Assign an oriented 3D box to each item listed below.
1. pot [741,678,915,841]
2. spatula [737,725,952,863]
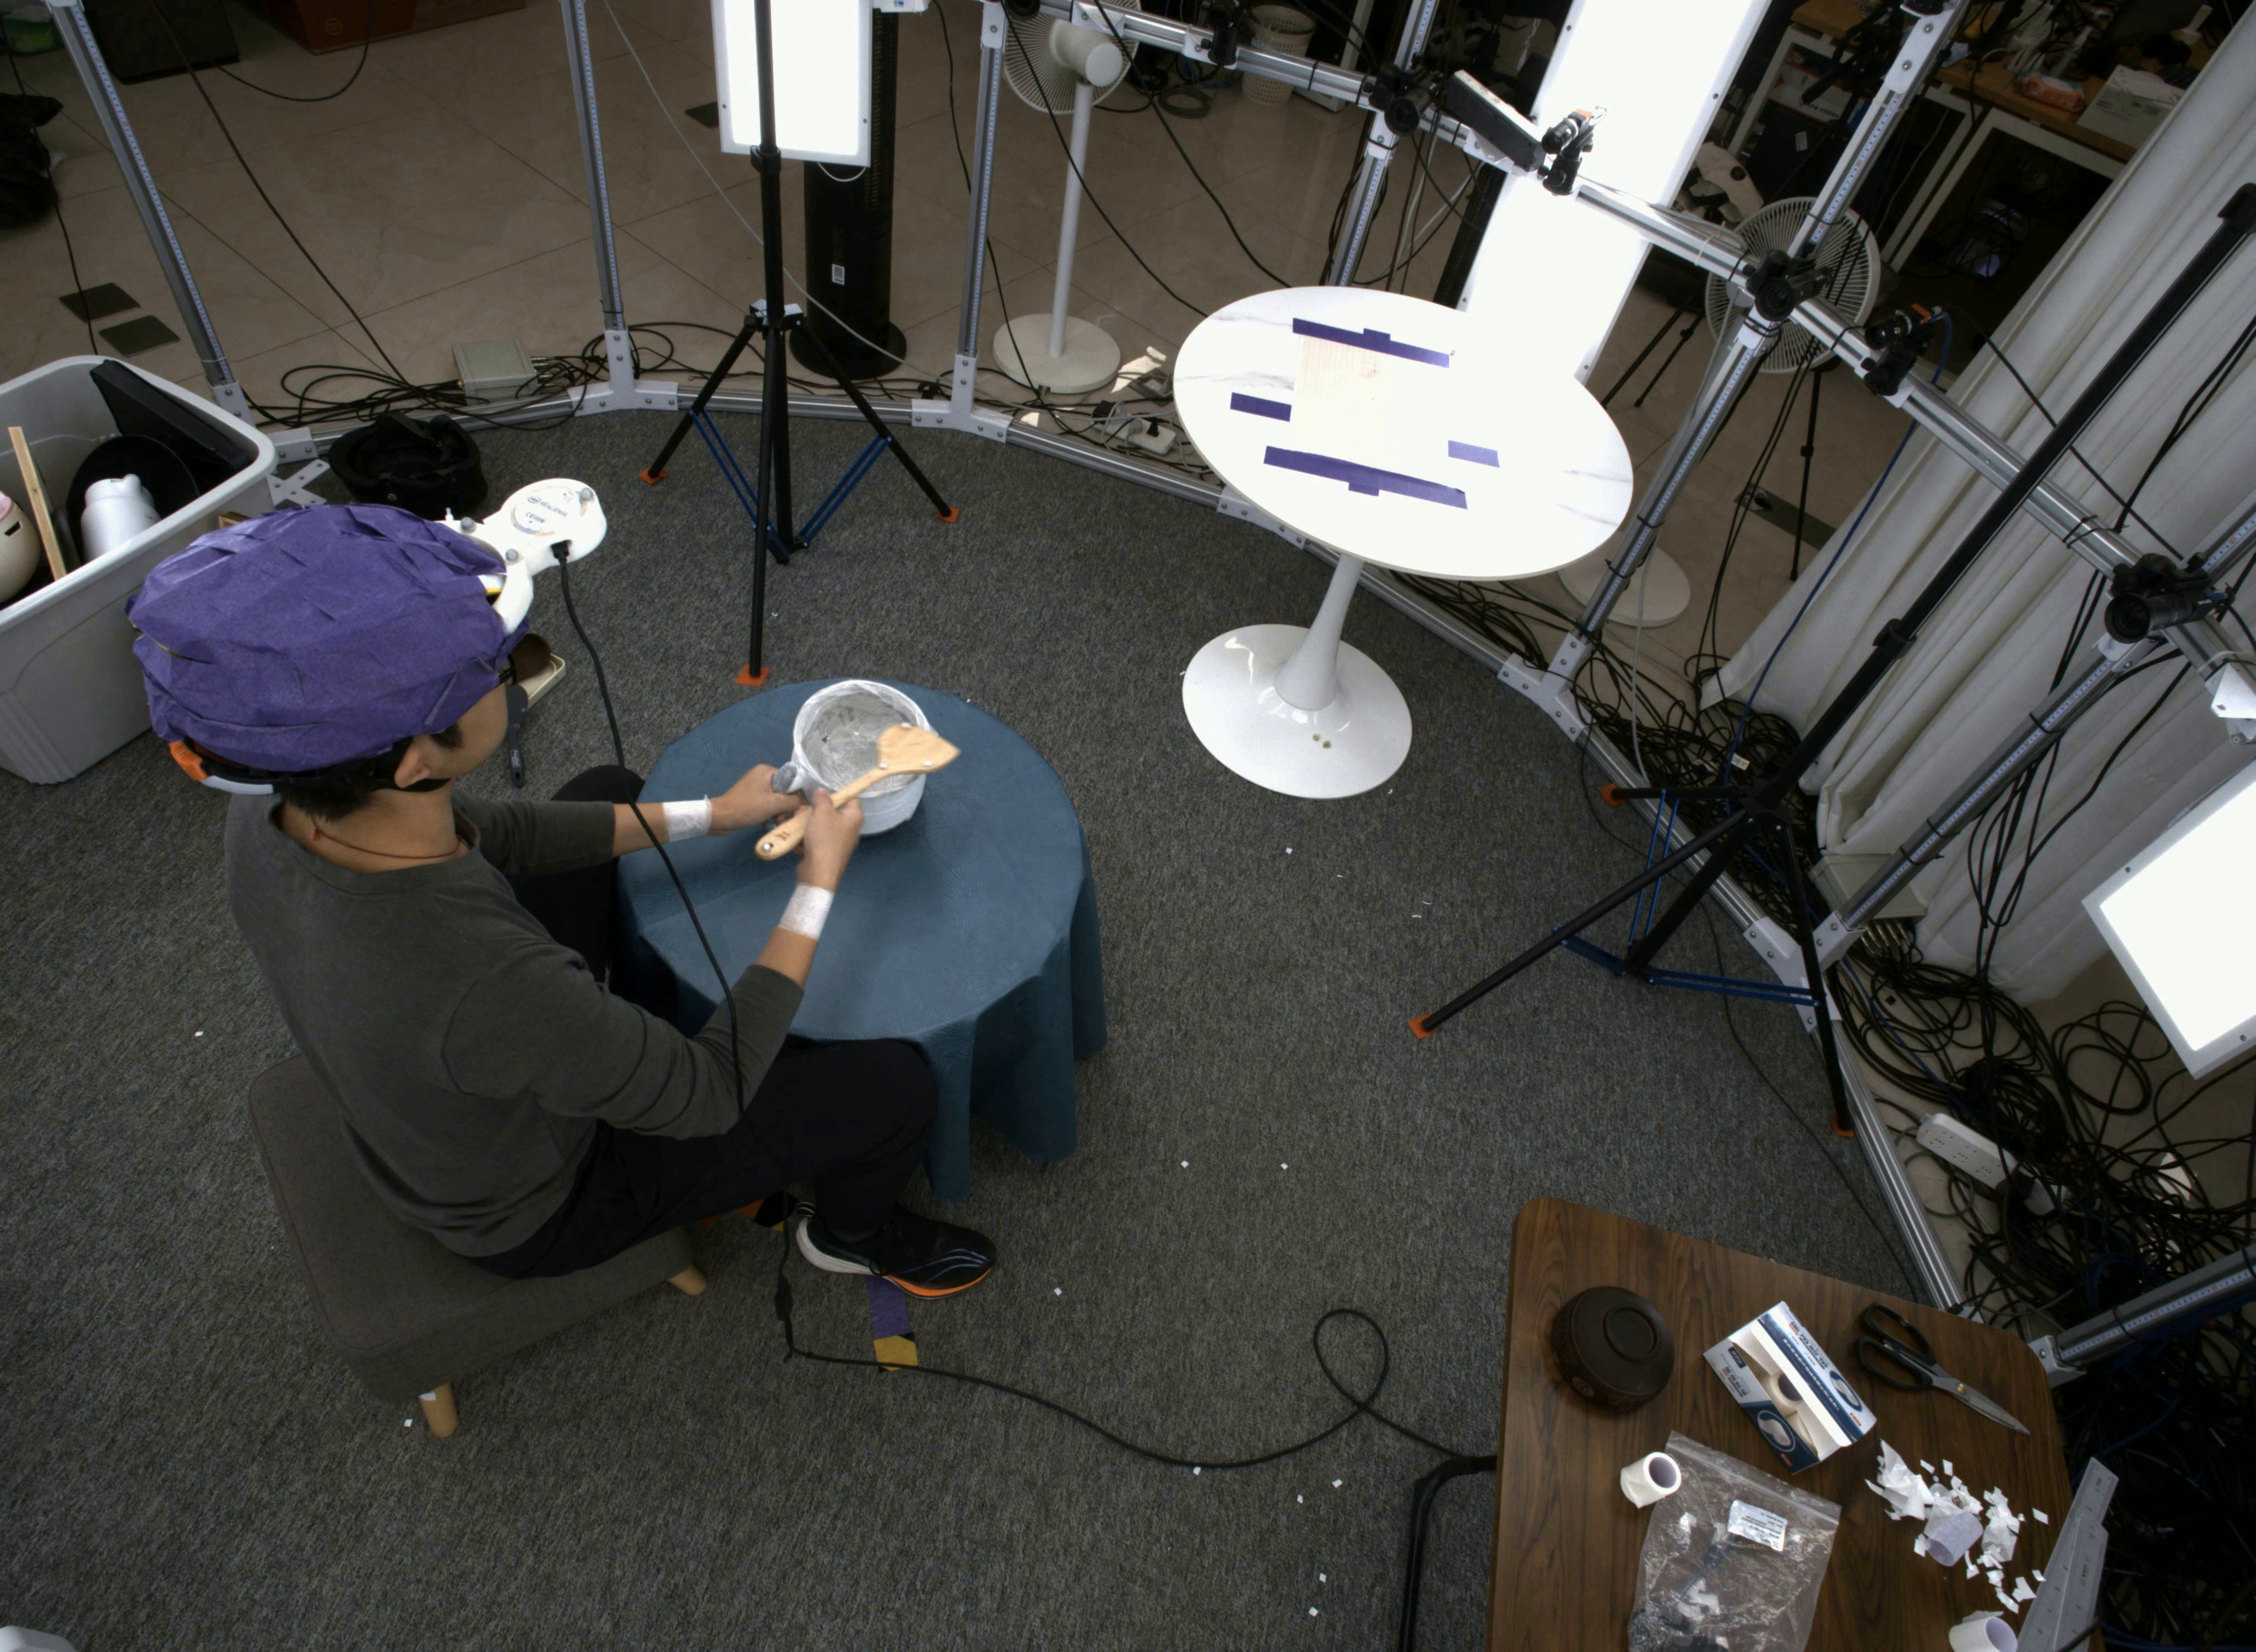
[{"bbox_3d":[-0.396,-0.072,1.696,0.234,0.138,0.176,-30,73,-30],"label":"pot"},{"bbox_3d":[-0.328,-0.040,1.508,0.094,0.019,0.390,24,28,11],"label":"spatula"}]
